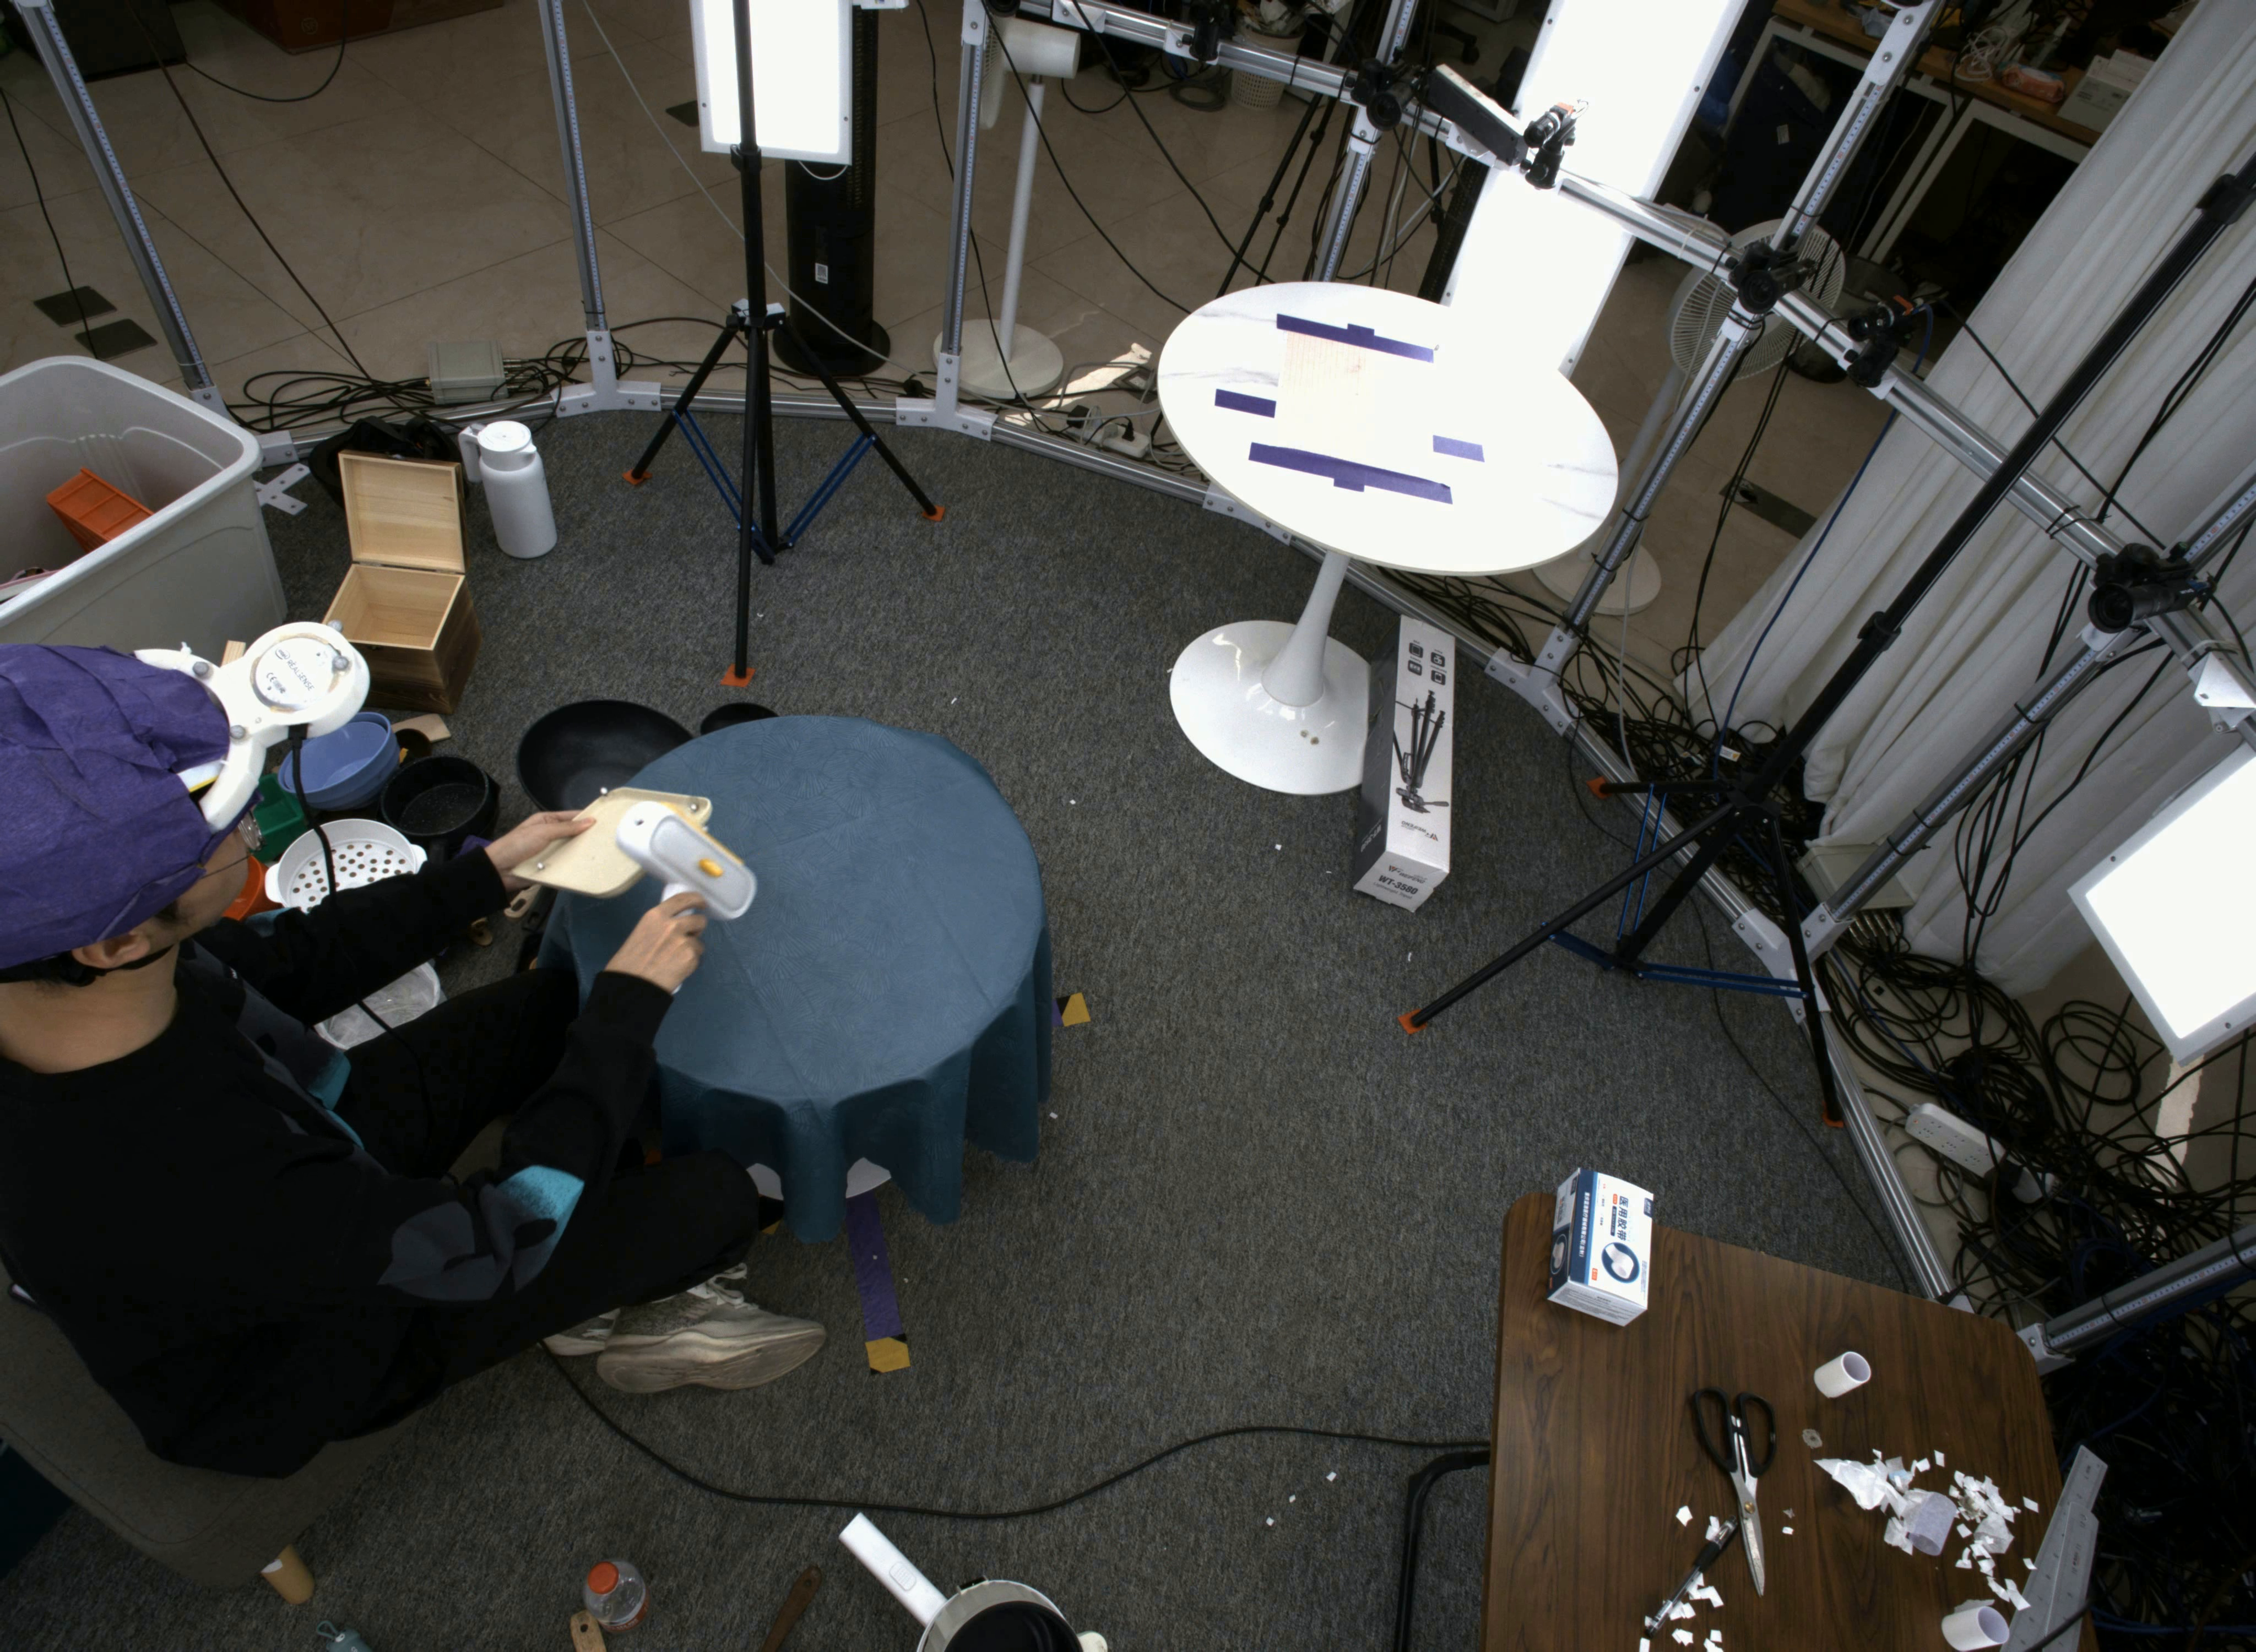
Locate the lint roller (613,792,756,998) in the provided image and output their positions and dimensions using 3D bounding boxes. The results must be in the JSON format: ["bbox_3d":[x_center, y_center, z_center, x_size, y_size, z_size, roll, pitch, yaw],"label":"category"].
[{"bbox_3d":[-0.480,0.084,1.368,0.072,0.199,0.191,3,67,21],"label":"lint roller"}]

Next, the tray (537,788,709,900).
[{"bbox_3d":[-0.590,0.017,1.470,0.231,0.018,0.171,6,44,39],"label":"tray"}]
